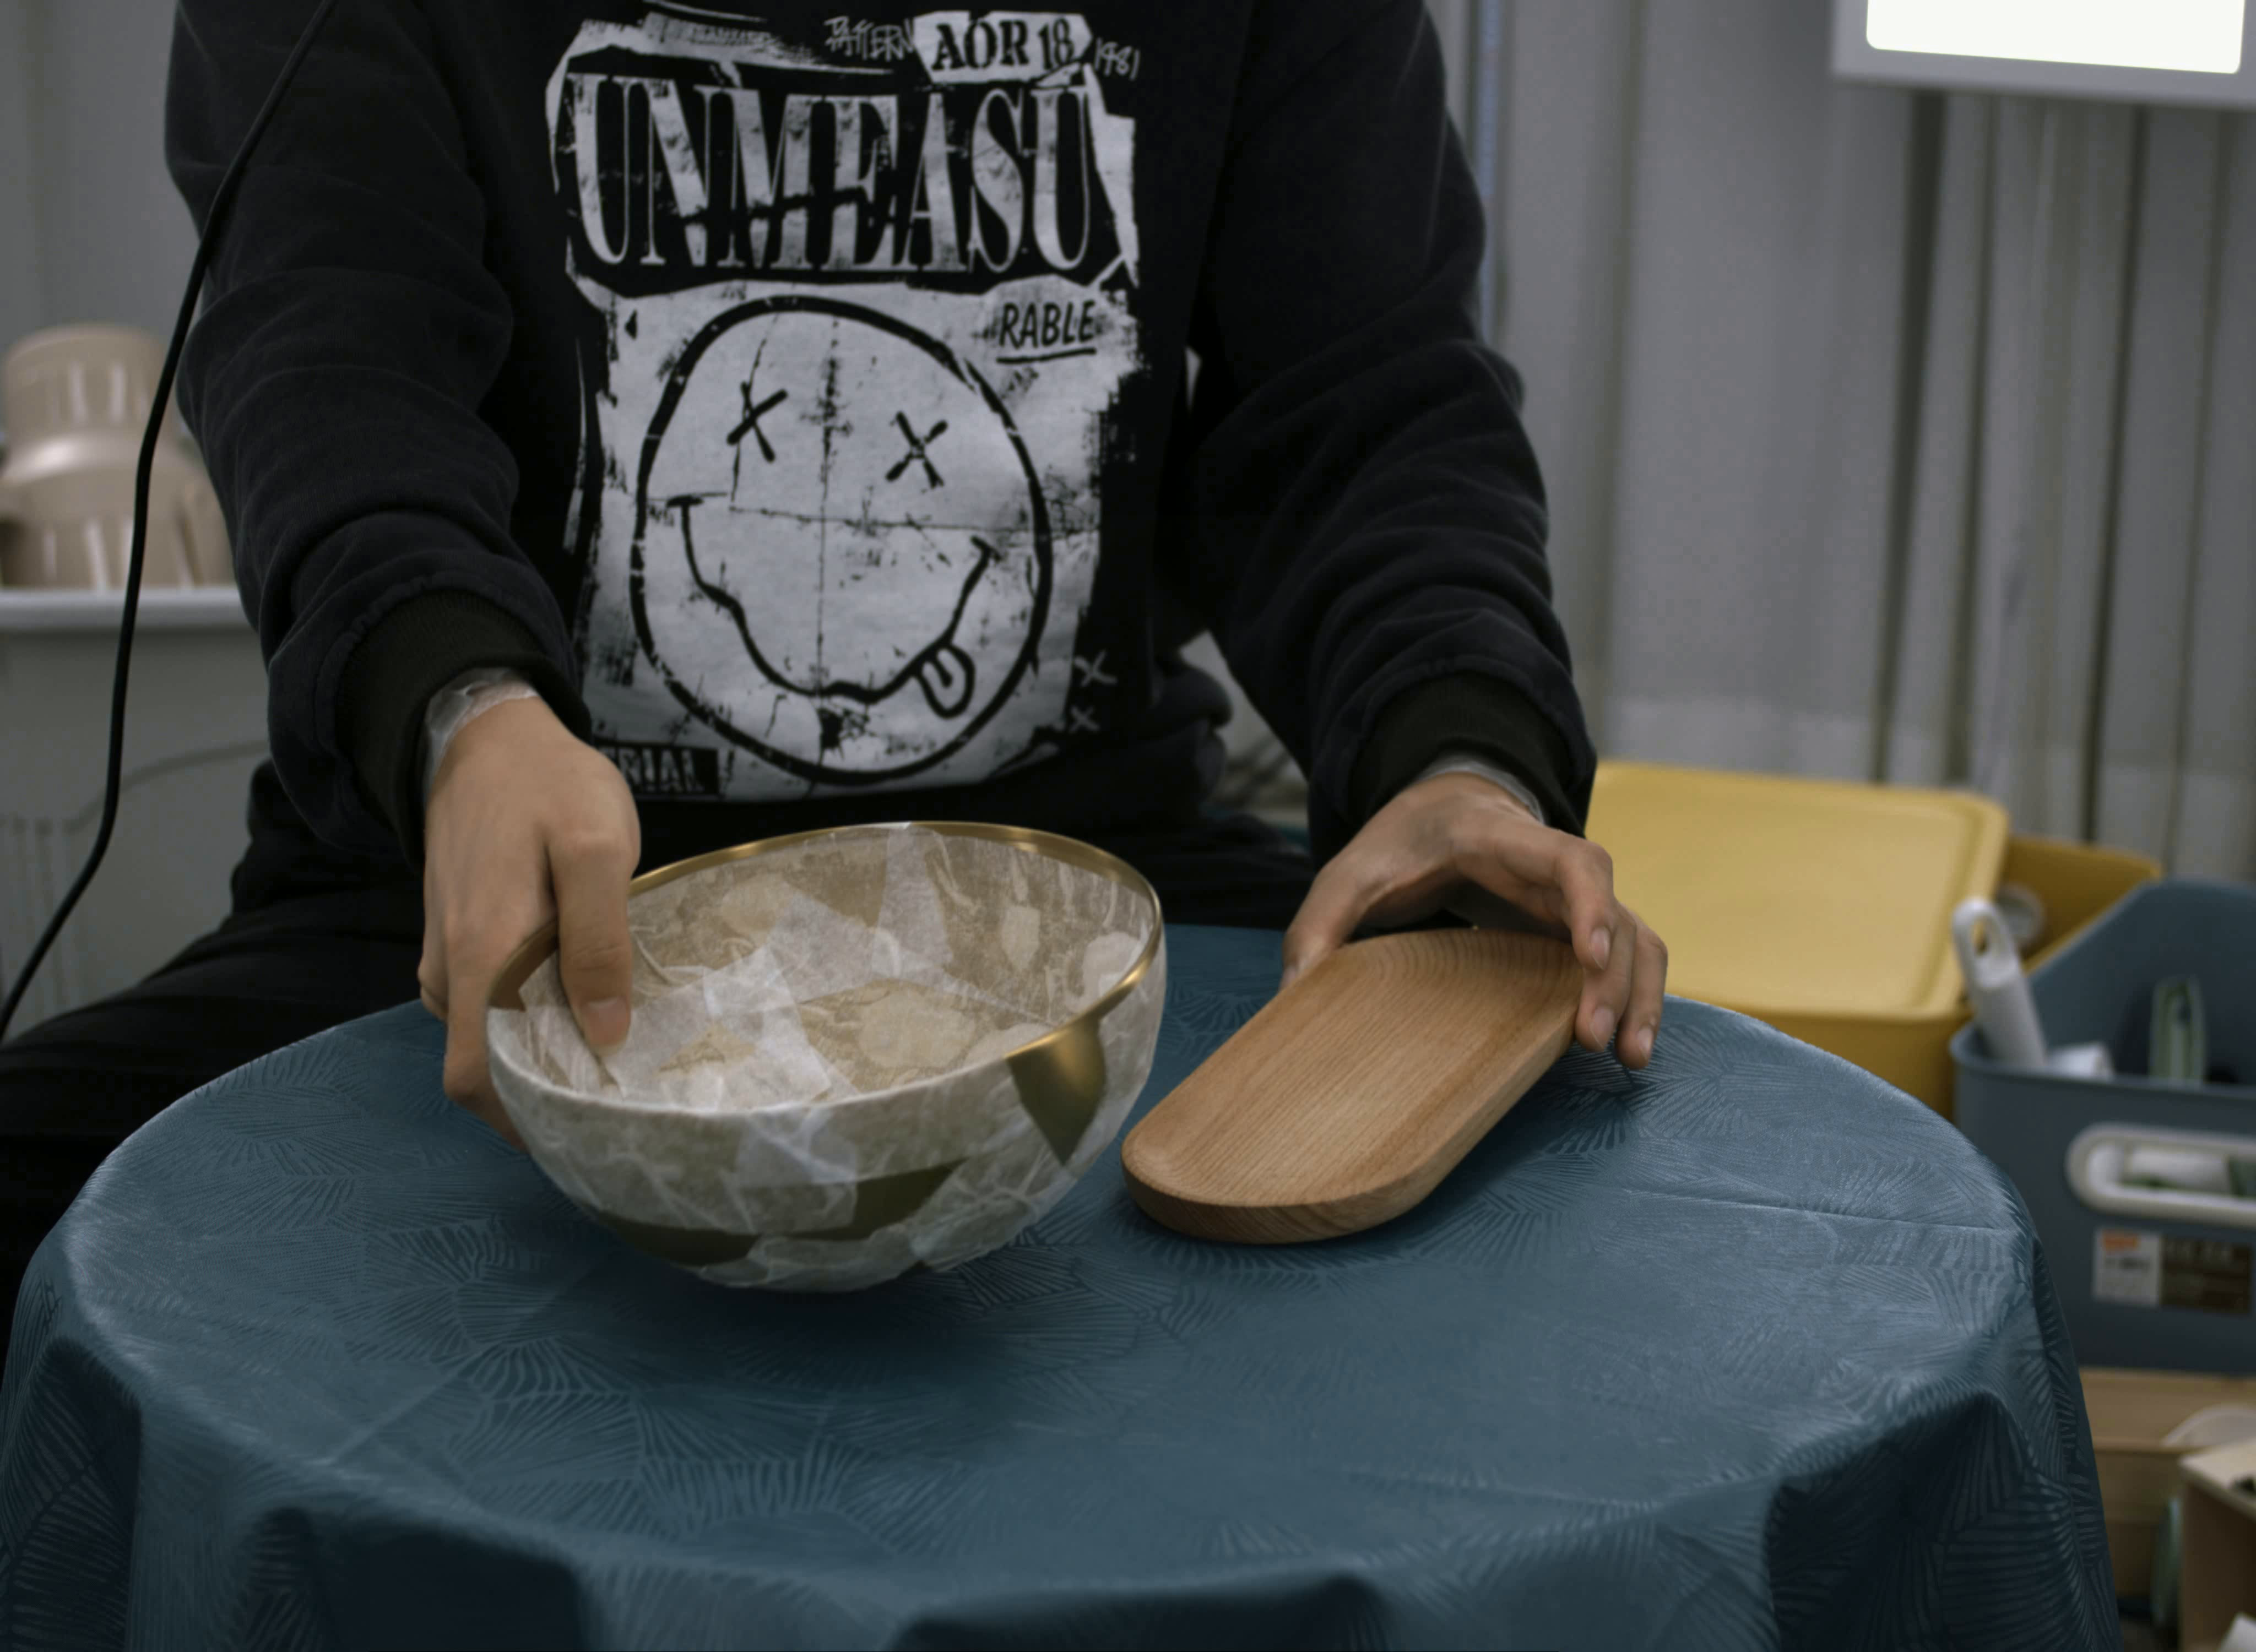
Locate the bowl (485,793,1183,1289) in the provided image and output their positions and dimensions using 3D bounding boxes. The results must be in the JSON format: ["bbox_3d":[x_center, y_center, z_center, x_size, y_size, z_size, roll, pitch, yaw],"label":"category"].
[{"bbox_3d":[-0.079,0.074,1.542,0.214,0.095,0.213,-7,23,4],"label":"bowl"}]

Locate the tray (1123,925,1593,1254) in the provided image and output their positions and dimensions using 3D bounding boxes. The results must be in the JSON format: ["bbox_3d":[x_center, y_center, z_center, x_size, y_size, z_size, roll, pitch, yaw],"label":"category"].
[{"bbox_3d":[0.076,0.081,1.670,0.100,0.020,0.231,3,24,24],"label":"tray"}]
